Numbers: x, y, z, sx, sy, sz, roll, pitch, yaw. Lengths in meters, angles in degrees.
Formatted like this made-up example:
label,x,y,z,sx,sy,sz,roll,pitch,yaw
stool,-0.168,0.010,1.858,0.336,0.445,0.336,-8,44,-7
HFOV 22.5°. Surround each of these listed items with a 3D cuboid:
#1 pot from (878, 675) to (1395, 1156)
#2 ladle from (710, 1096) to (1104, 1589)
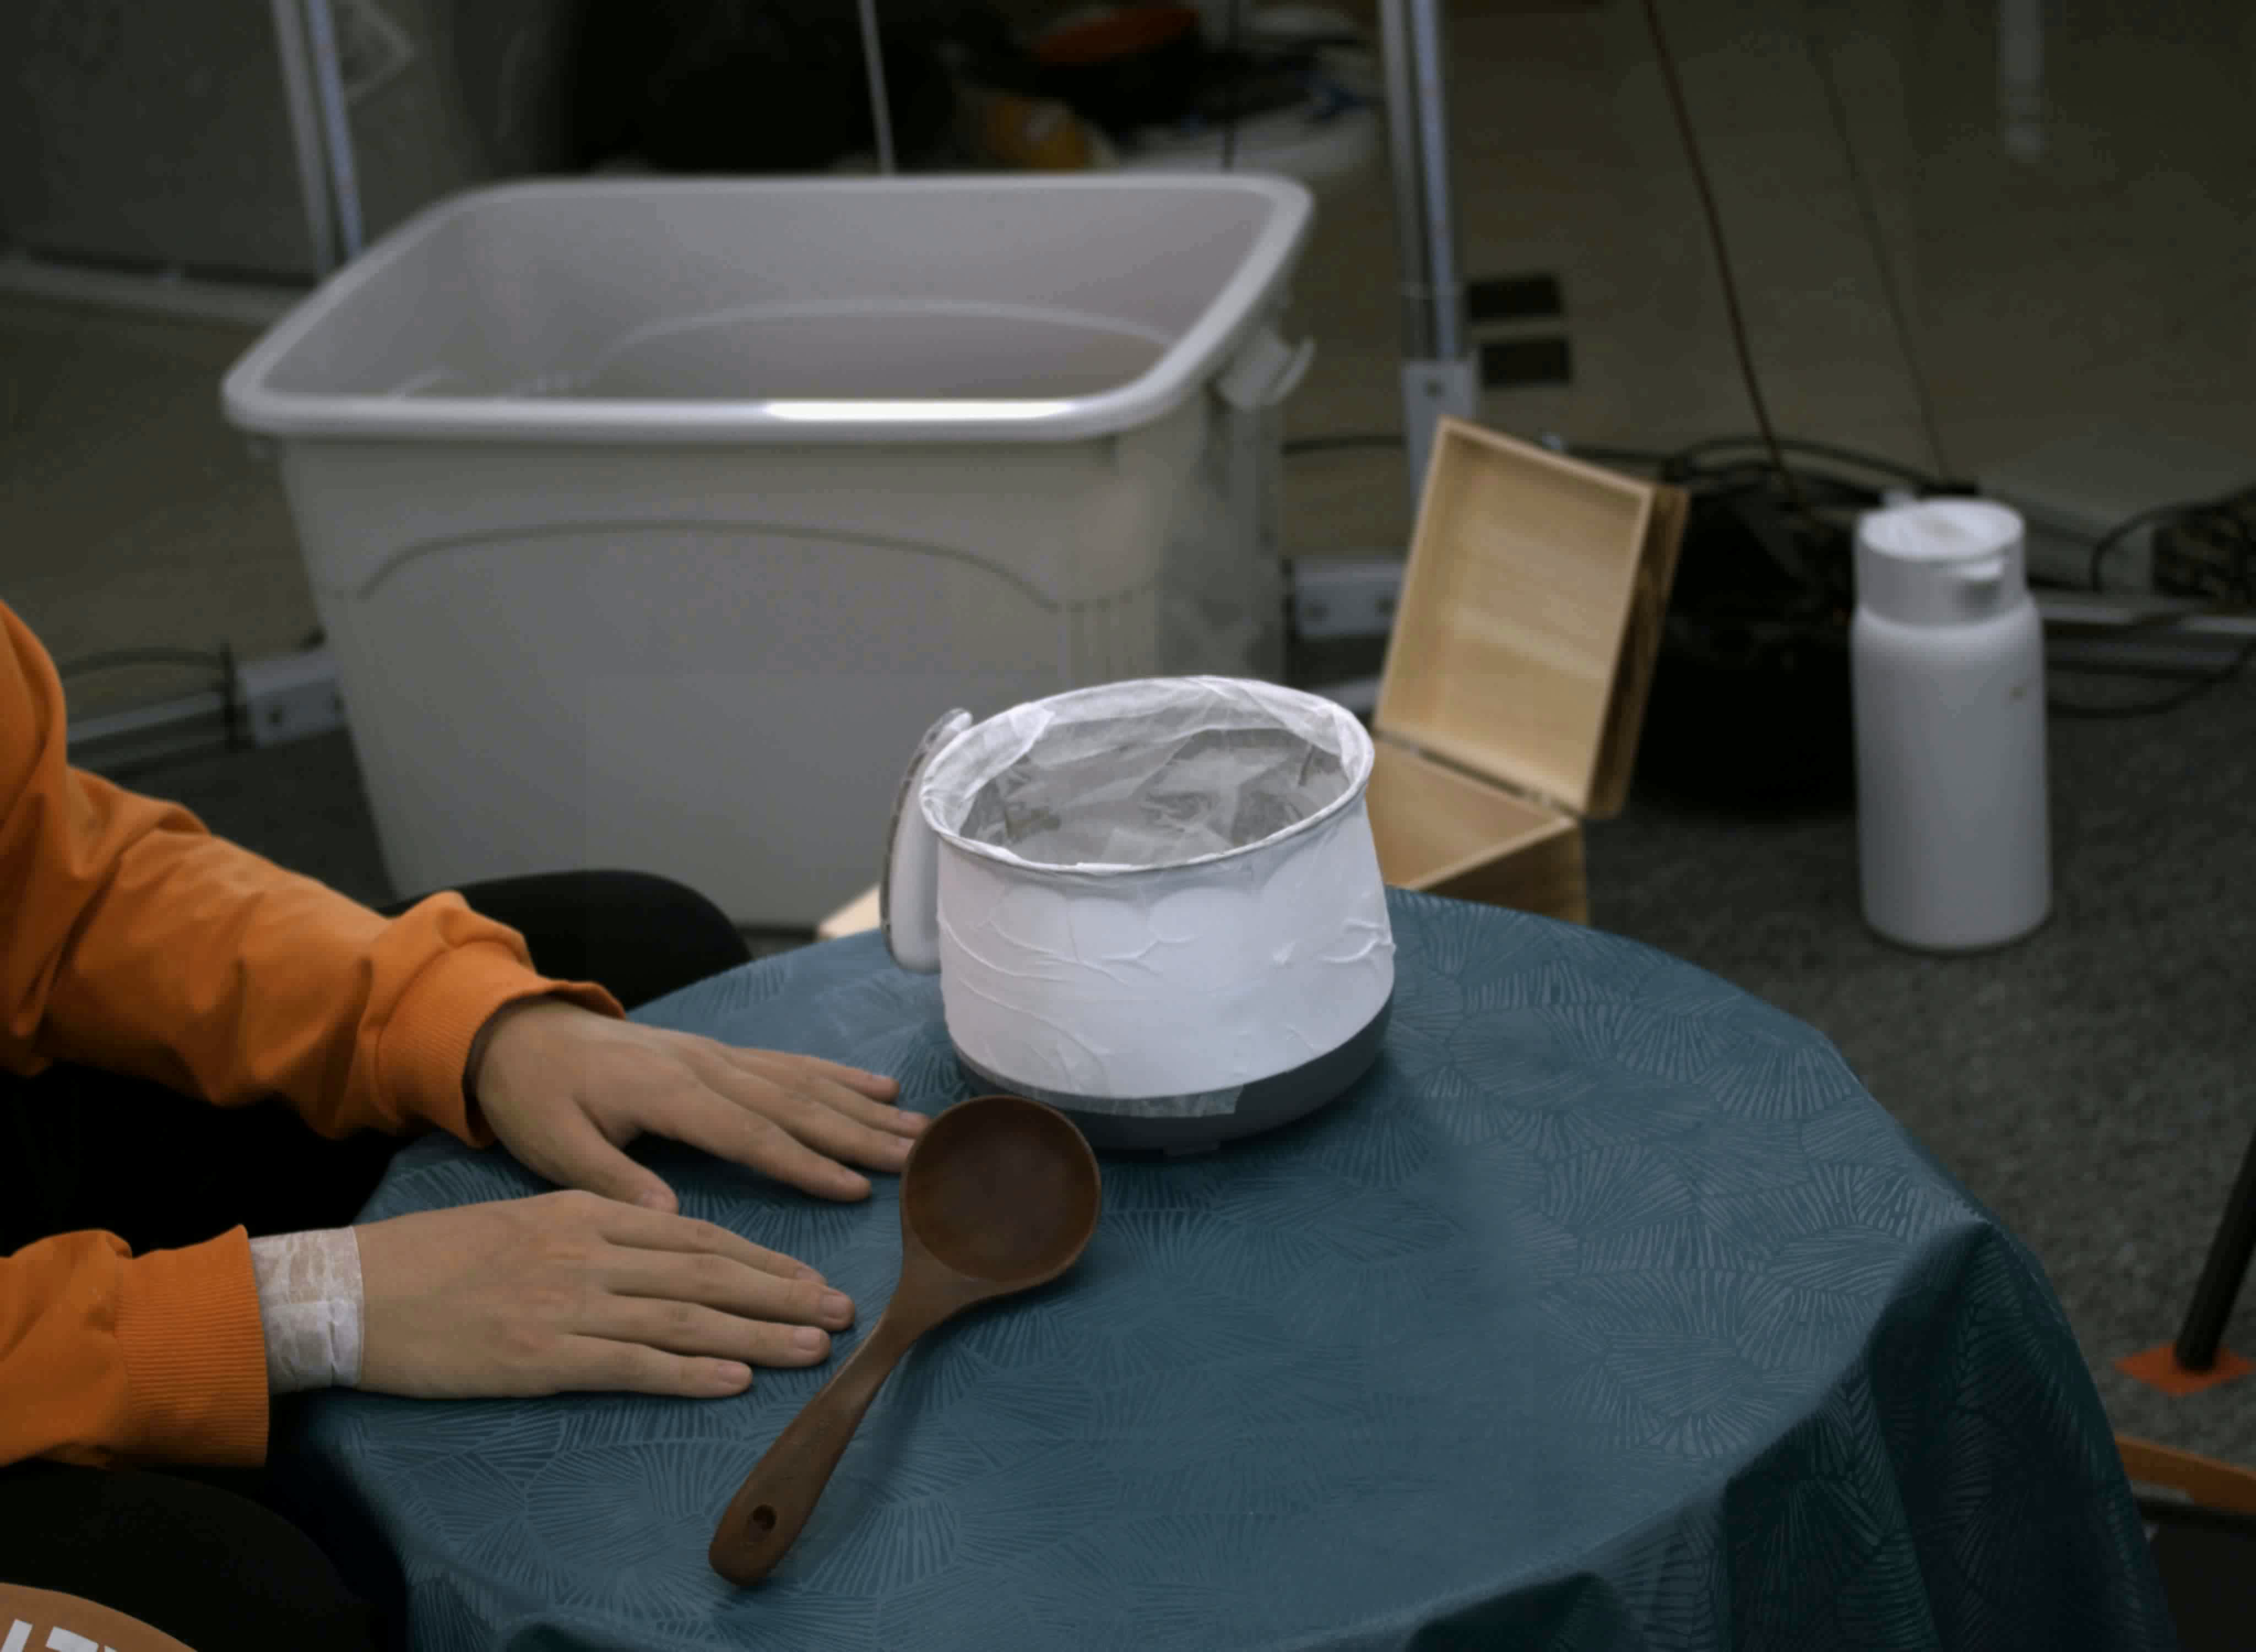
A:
label,x,y,z,sx,sy,sz,roll,pitch,yaw
pot,-0.008,0.030,2.217,0.232,0.139,0.177,15,32,37
ladle,-0.081,0.179,2.010,0.076,0.066,0.257,28,33,8
